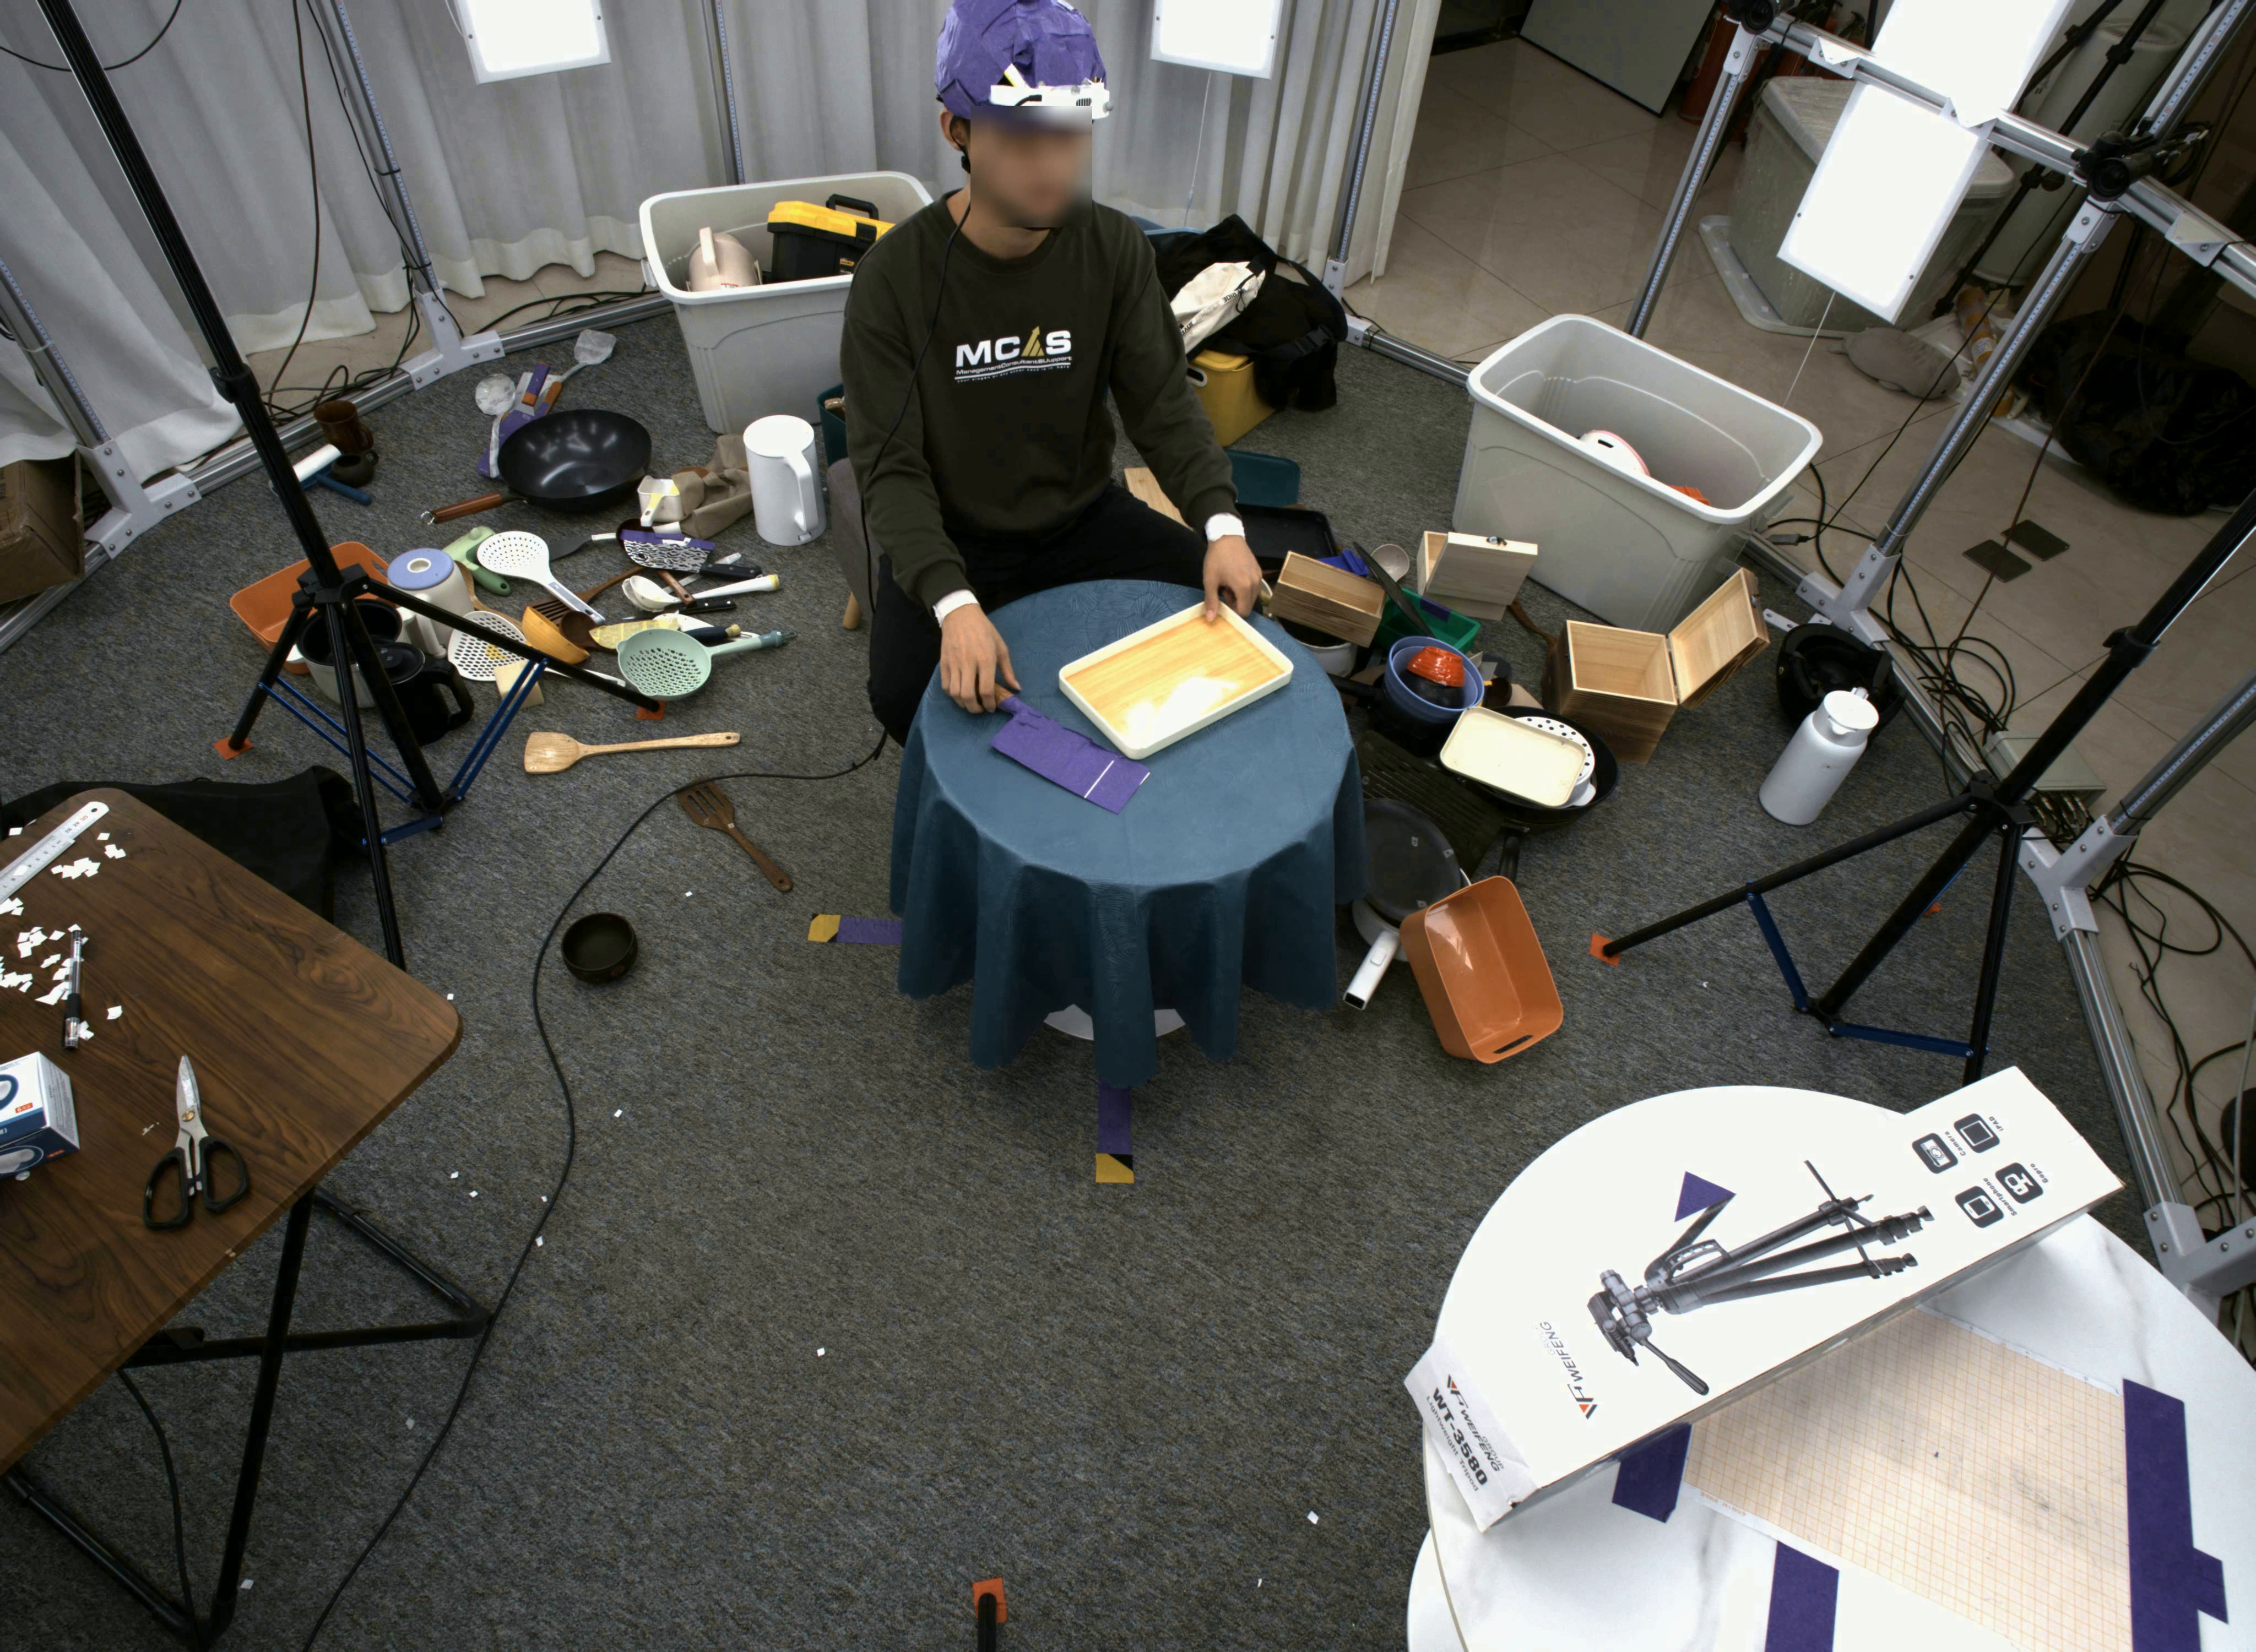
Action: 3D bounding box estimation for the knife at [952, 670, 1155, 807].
[{"bbox_3d":[-0.121,-0.121,1.746,0.318,0.031,0.105,27,52,18],"label":"knife"}]

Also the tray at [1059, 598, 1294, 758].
[{"bbox_3d":[0.070,-0.217,1.843,0.302,0.027,0.195,-28,56,-25],"label":"tray"}]
